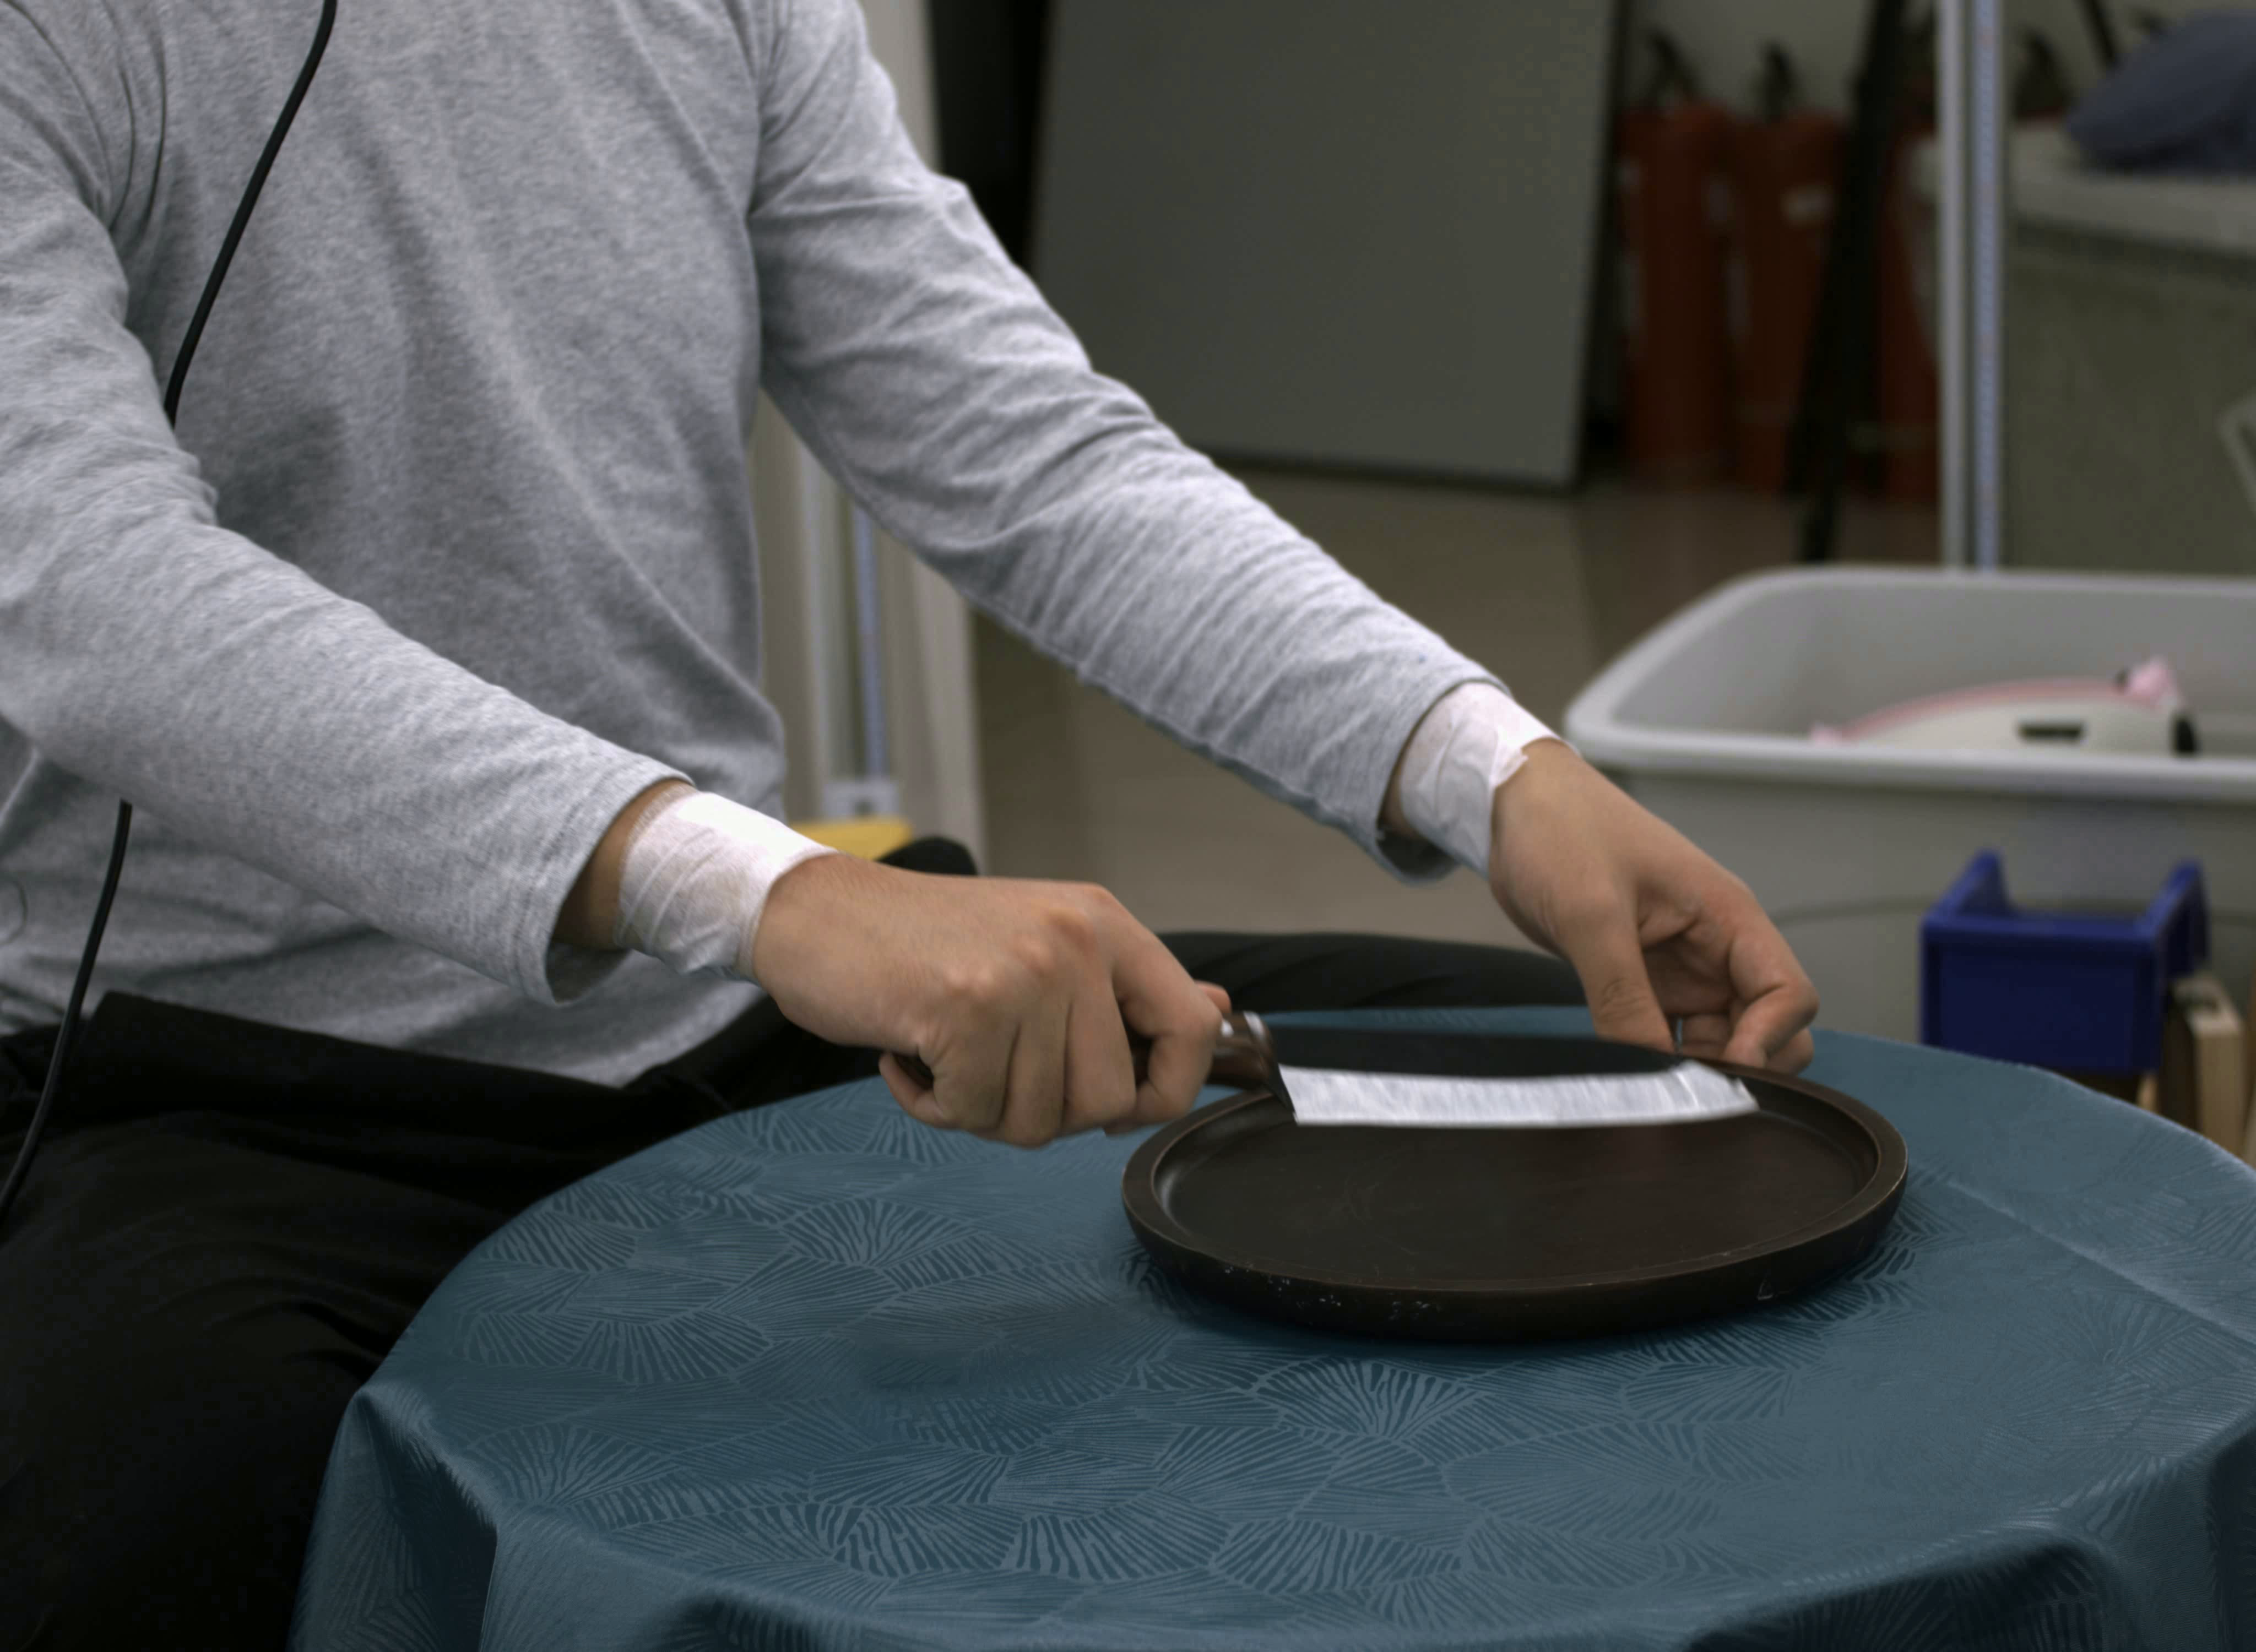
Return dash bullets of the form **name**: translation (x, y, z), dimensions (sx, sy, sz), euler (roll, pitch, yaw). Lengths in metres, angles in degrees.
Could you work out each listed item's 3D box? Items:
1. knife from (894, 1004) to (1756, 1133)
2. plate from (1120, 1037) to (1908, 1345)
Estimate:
- **knife**: translation (0.065, 0.076, 1.646), dimensions (0.283, 0.020, 0.051), euler (5, 39, -20)
- **plate**: translation (0.122, 0.116, 1.709), dimensions (0.251, 0.029, 0.255), euler (-6, 14, 1)
